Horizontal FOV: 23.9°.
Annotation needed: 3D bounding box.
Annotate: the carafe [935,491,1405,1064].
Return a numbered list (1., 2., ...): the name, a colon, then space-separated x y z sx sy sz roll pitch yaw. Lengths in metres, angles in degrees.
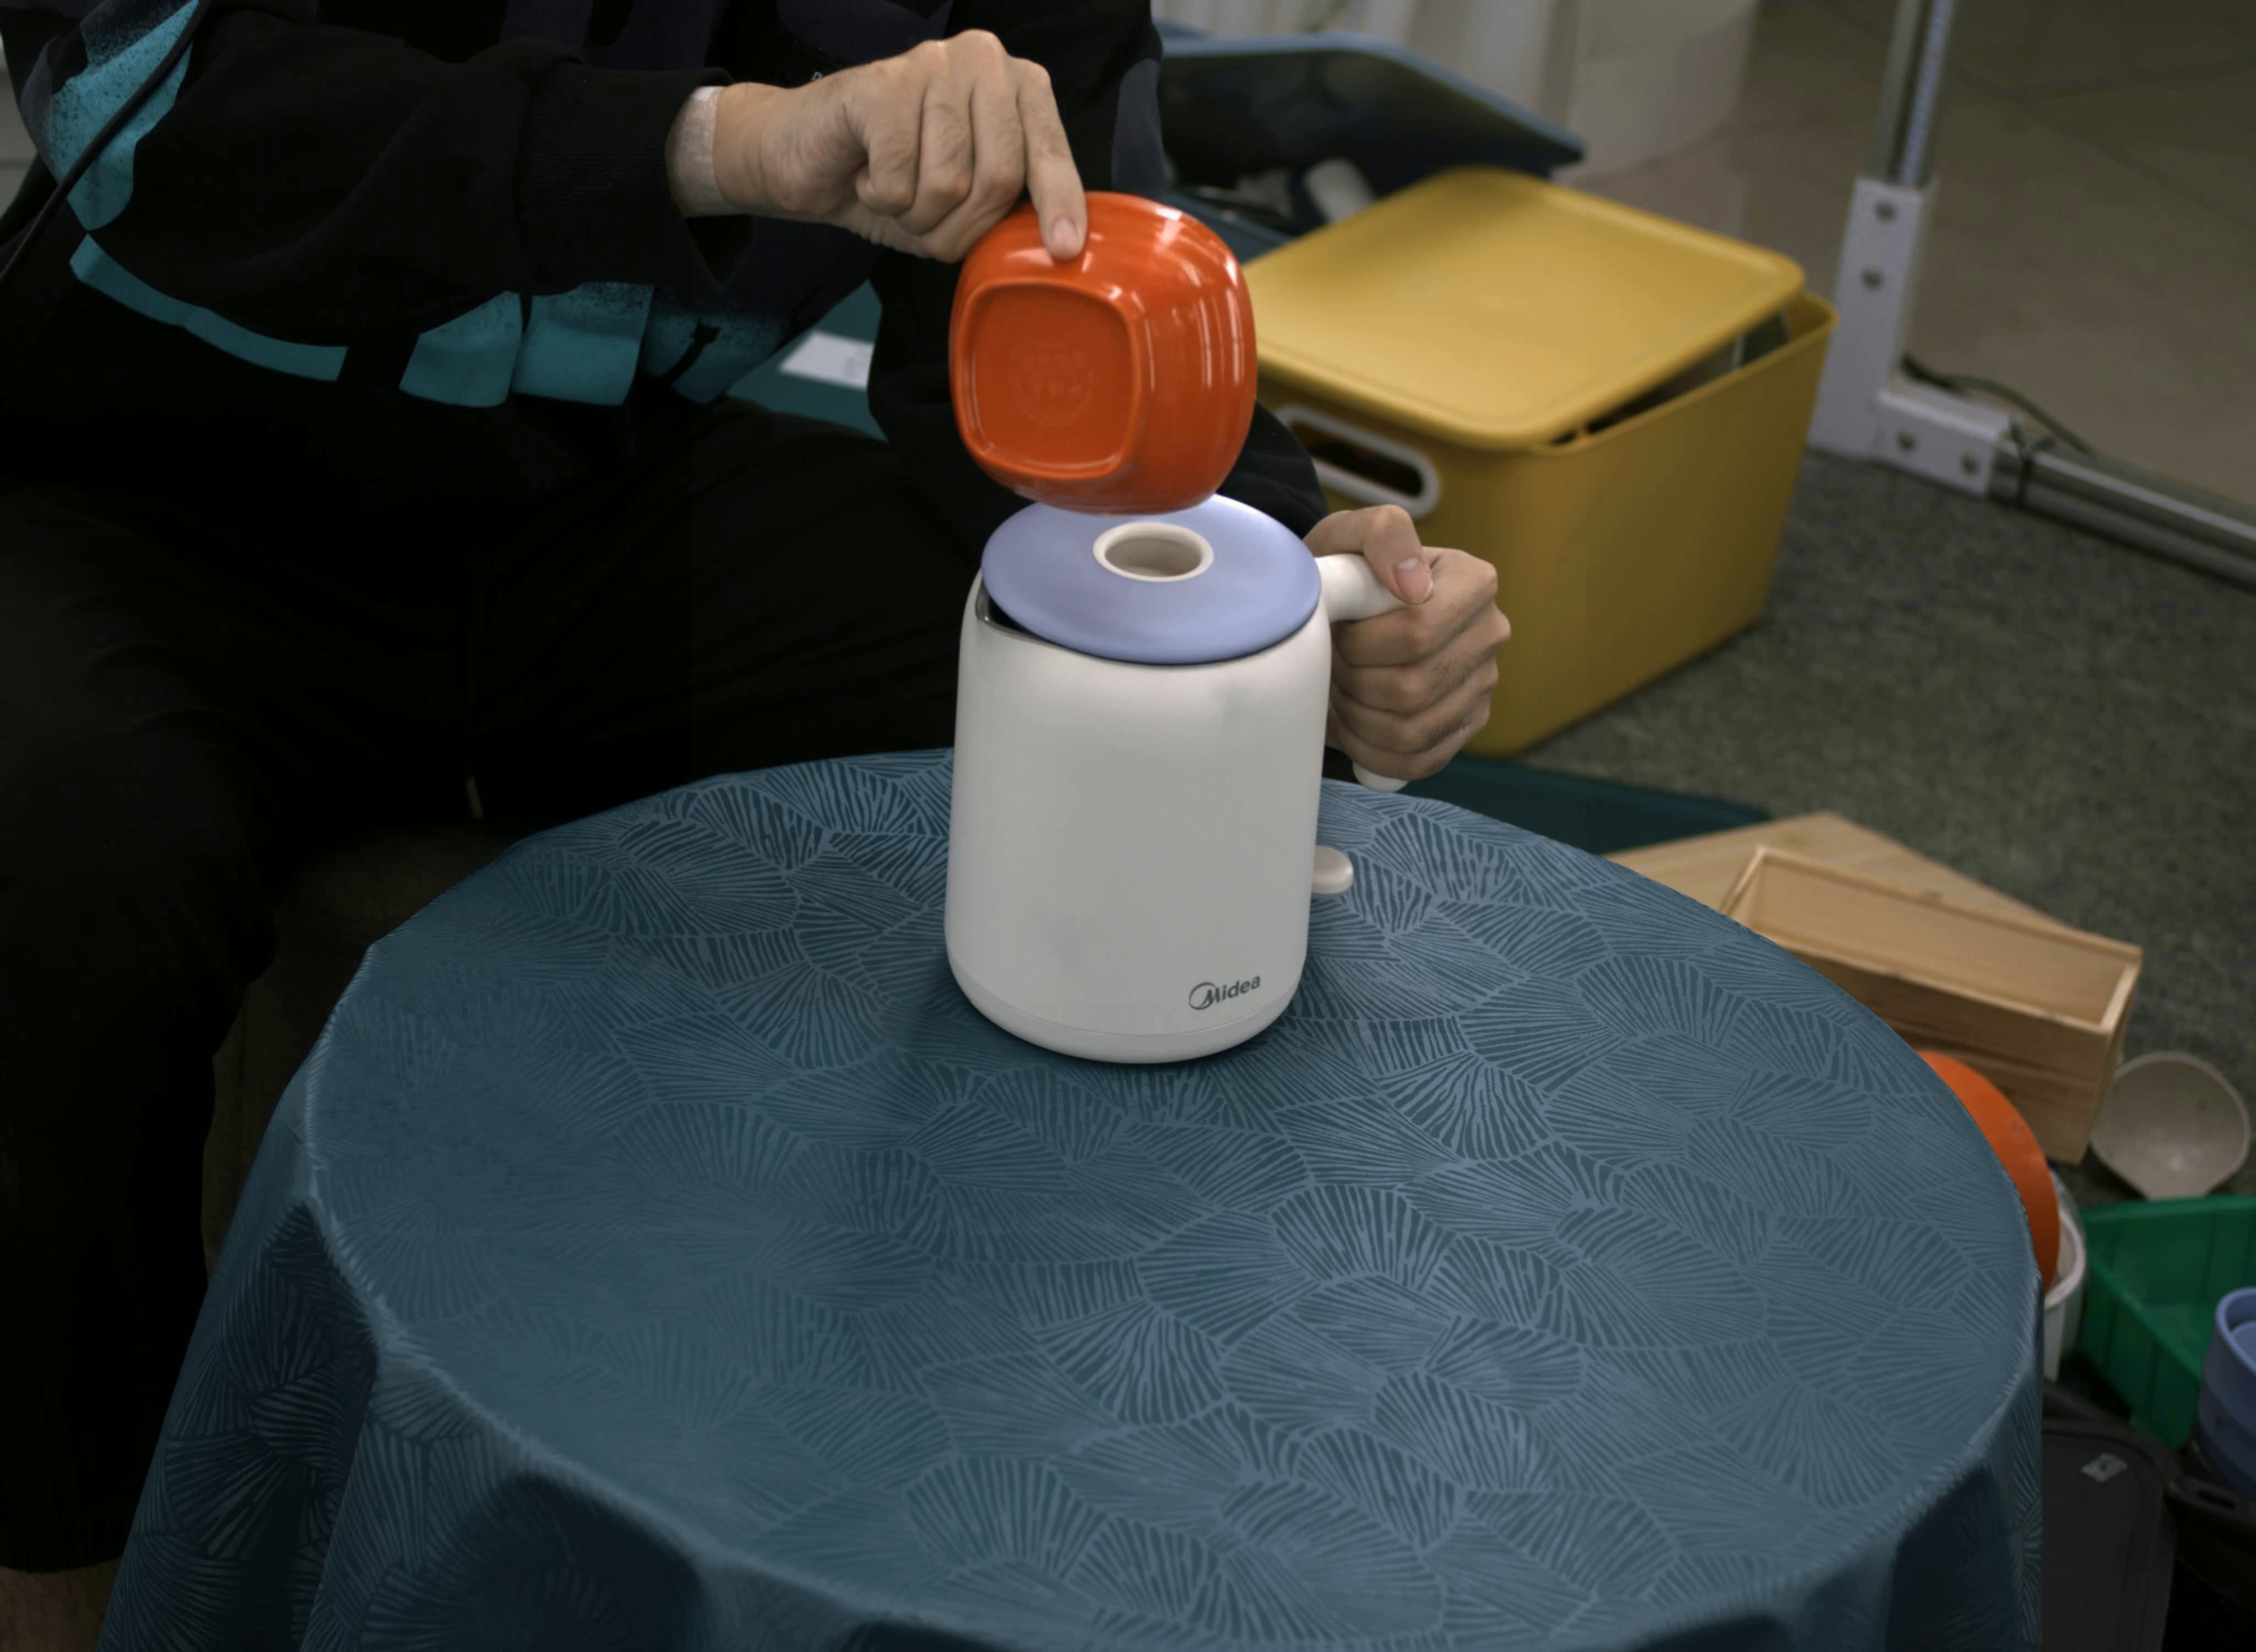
1. carafe: 0.022 -0.025 1.894 0.190 0.182 0.133 -14 37 -31

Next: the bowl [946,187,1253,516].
1. bowl: -0.018 -0.152 1.763 0.119 0.118 0.051 19 24 23
